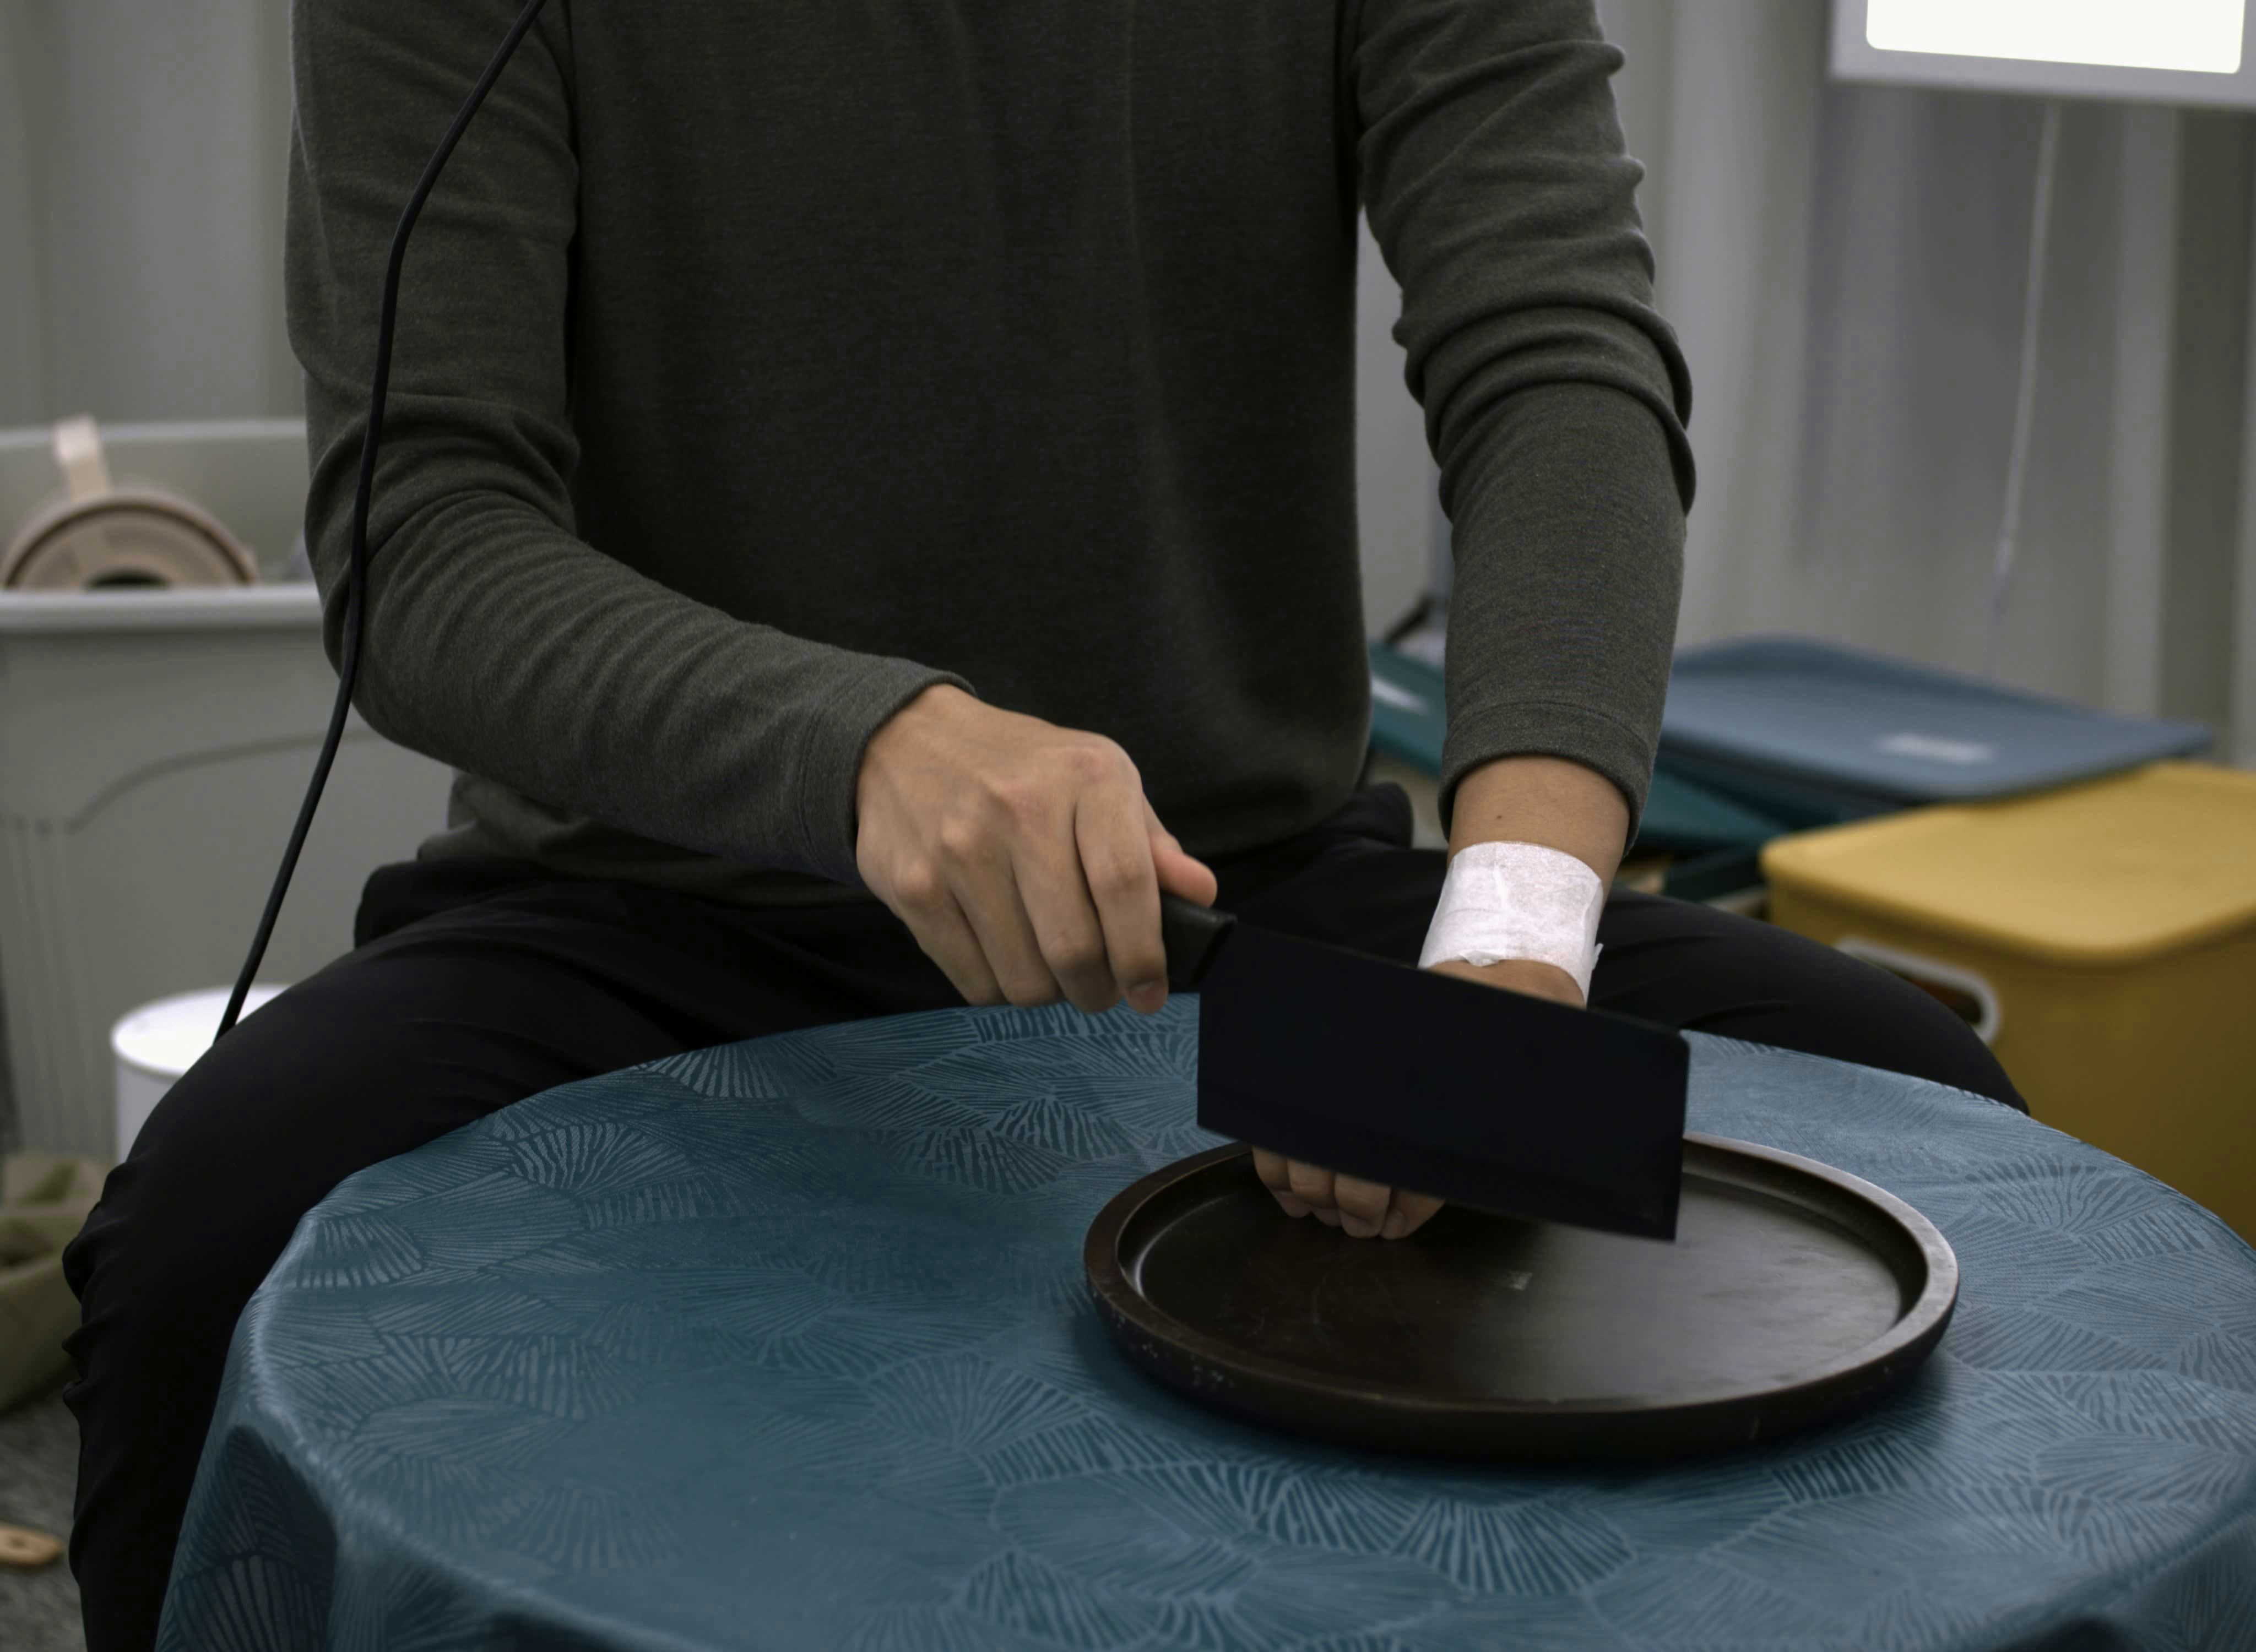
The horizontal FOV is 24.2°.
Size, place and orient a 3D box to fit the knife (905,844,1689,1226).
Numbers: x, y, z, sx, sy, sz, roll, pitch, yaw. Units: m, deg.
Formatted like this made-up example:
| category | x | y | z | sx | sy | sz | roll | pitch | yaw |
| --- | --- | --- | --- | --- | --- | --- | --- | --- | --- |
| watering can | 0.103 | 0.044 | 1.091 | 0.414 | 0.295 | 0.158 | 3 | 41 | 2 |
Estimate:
| category | x | y | z | sx | sy | sz | roll | pitch | yaw |
| --- | --- | --- | --- | --- | --- | --- | --- | --- | --- |
| knife | 0.044 | 0.055 | 1.535 | 0.298 | 0.081 | 0.021 | 18 | 19 | 40 |

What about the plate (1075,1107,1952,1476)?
| category | x | y | z | sx | sy | sz | roll | pitch | yaw |
| --- | --- | --- | --- | --- | --- | --- | --- | --- | --- |
| plate | 0.110 | 0.132 | 1.517 | 0.254 | 0.029 | 0.253 | 0 | 16 | 1 |
